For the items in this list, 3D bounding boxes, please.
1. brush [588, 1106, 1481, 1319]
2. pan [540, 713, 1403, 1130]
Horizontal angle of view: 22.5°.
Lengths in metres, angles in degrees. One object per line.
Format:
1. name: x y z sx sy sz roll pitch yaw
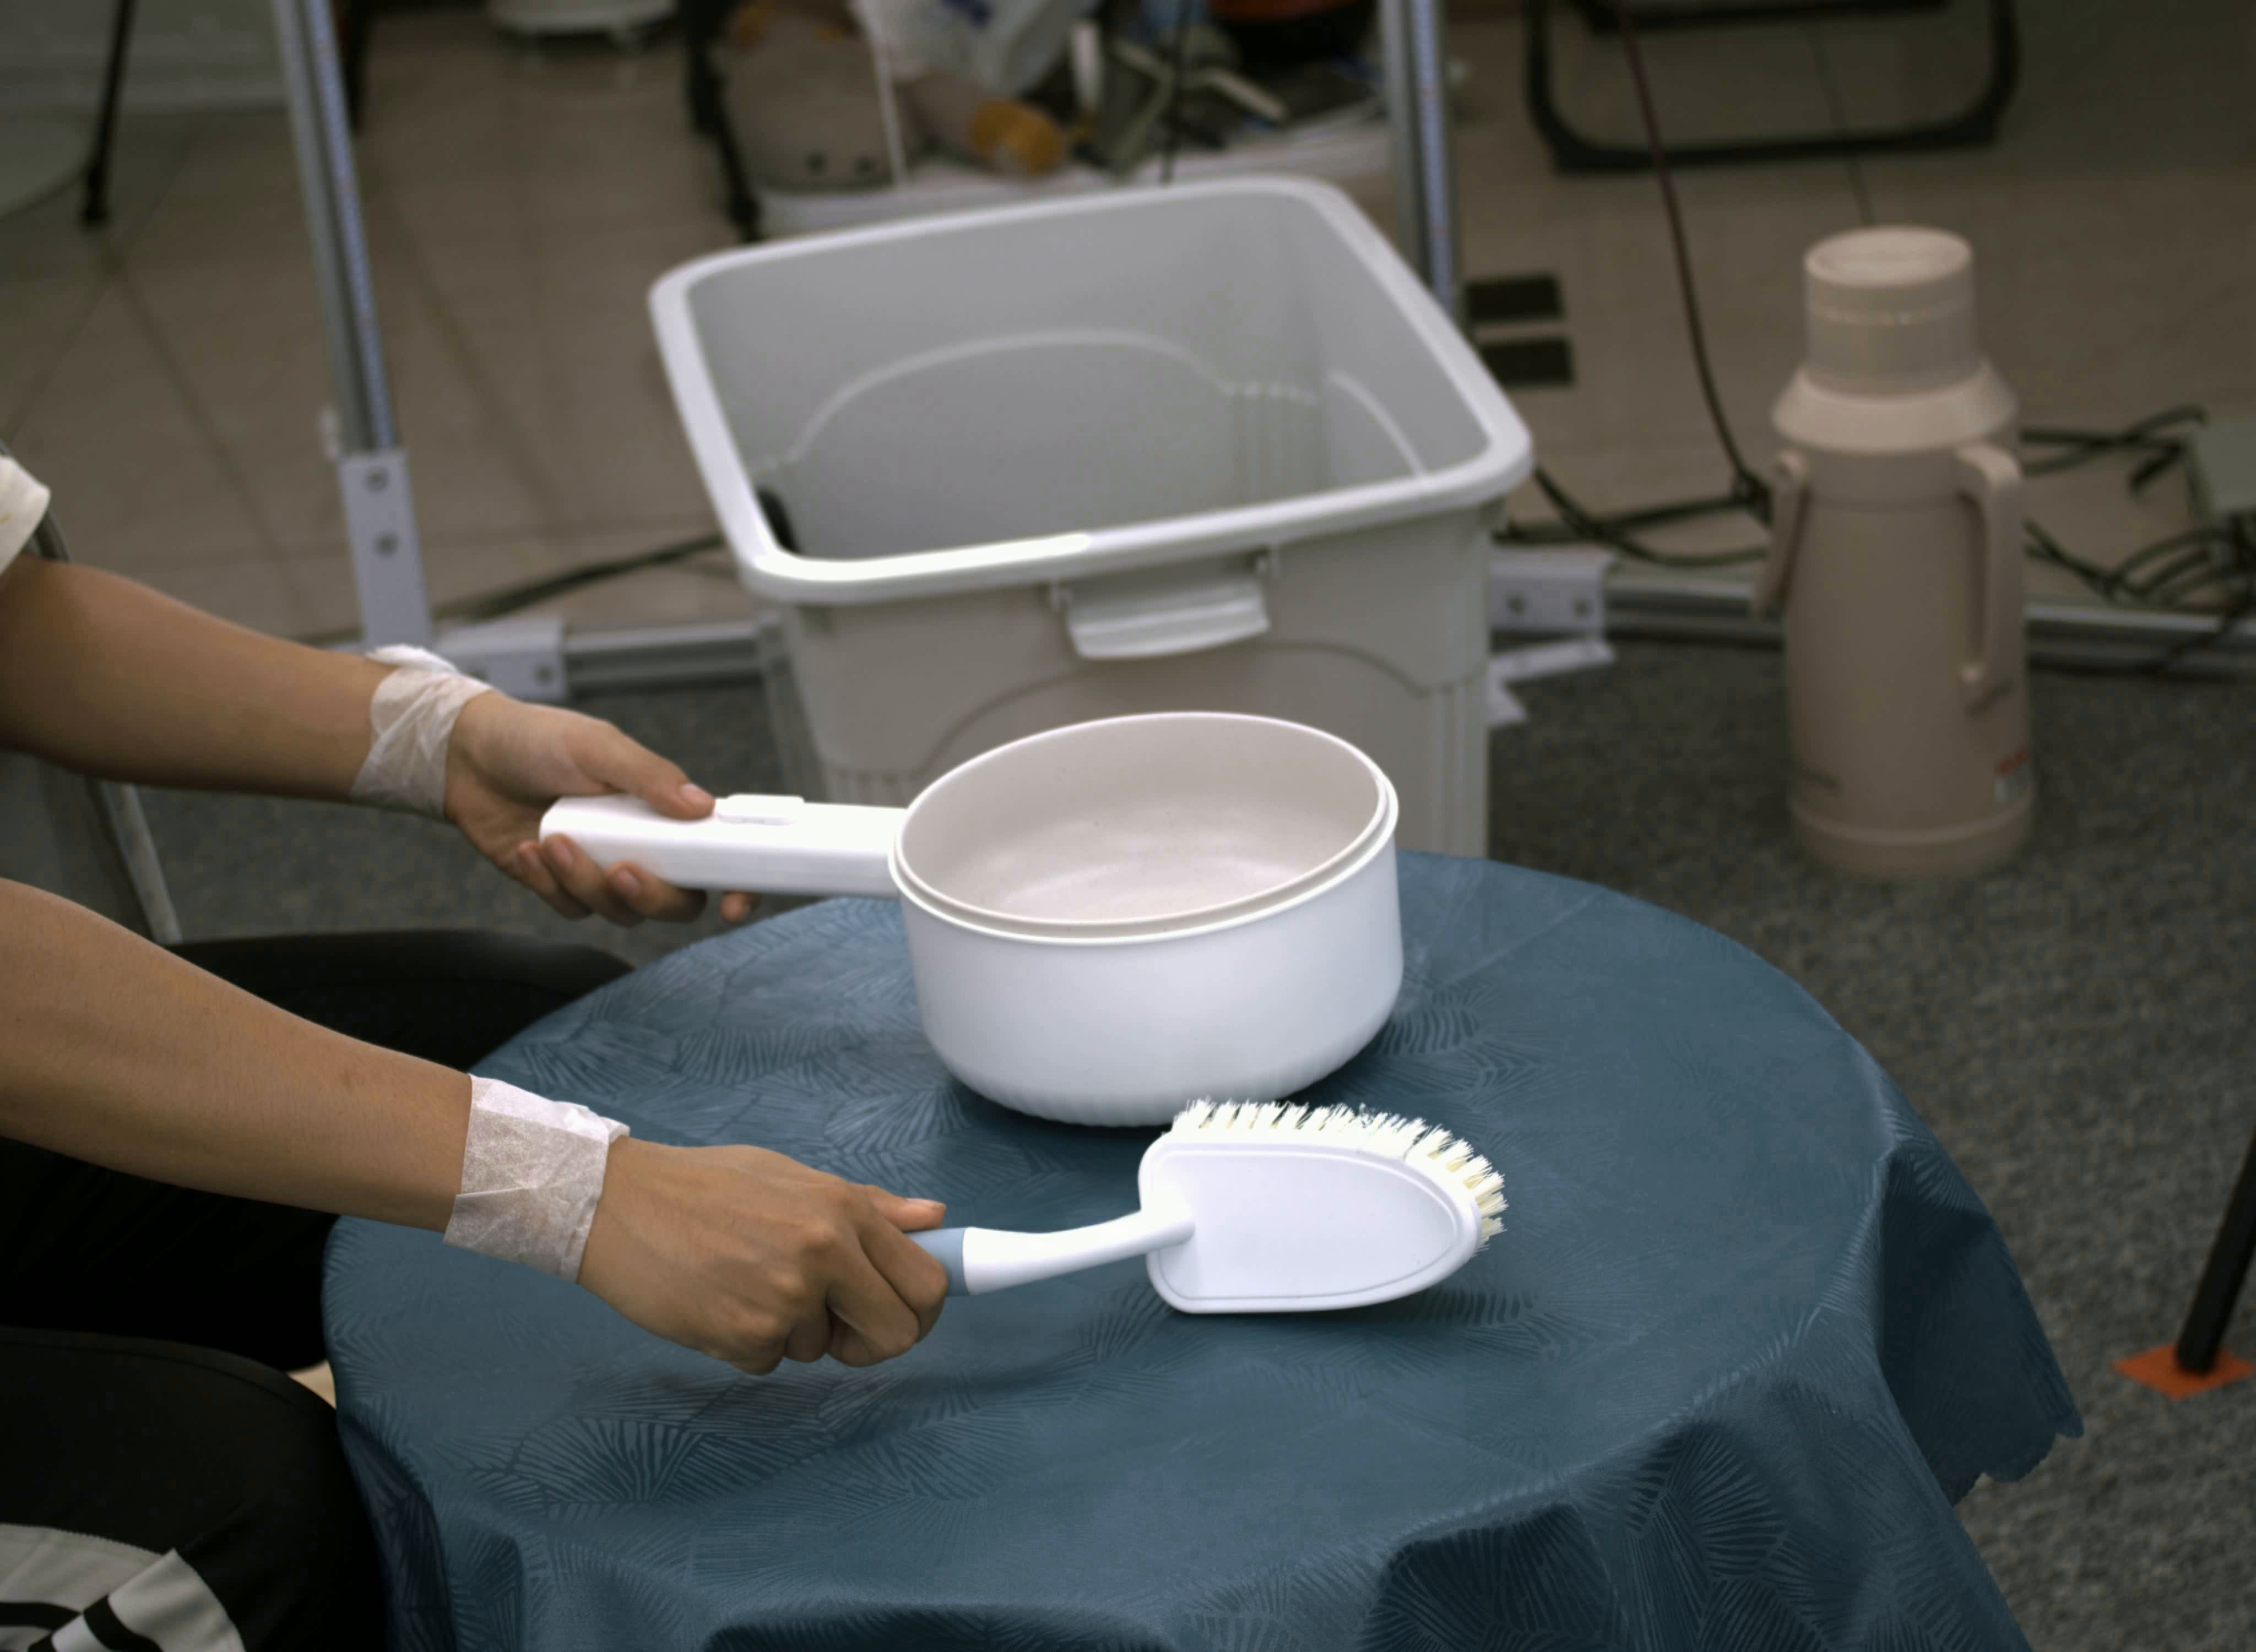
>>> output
1. brush: -0.033 0.143 2.064 0.325 0.086 0.082 -5 64 8
2. pan: -0.062 0.039 2.263 0.354 0.104 0.198 2 27 19
